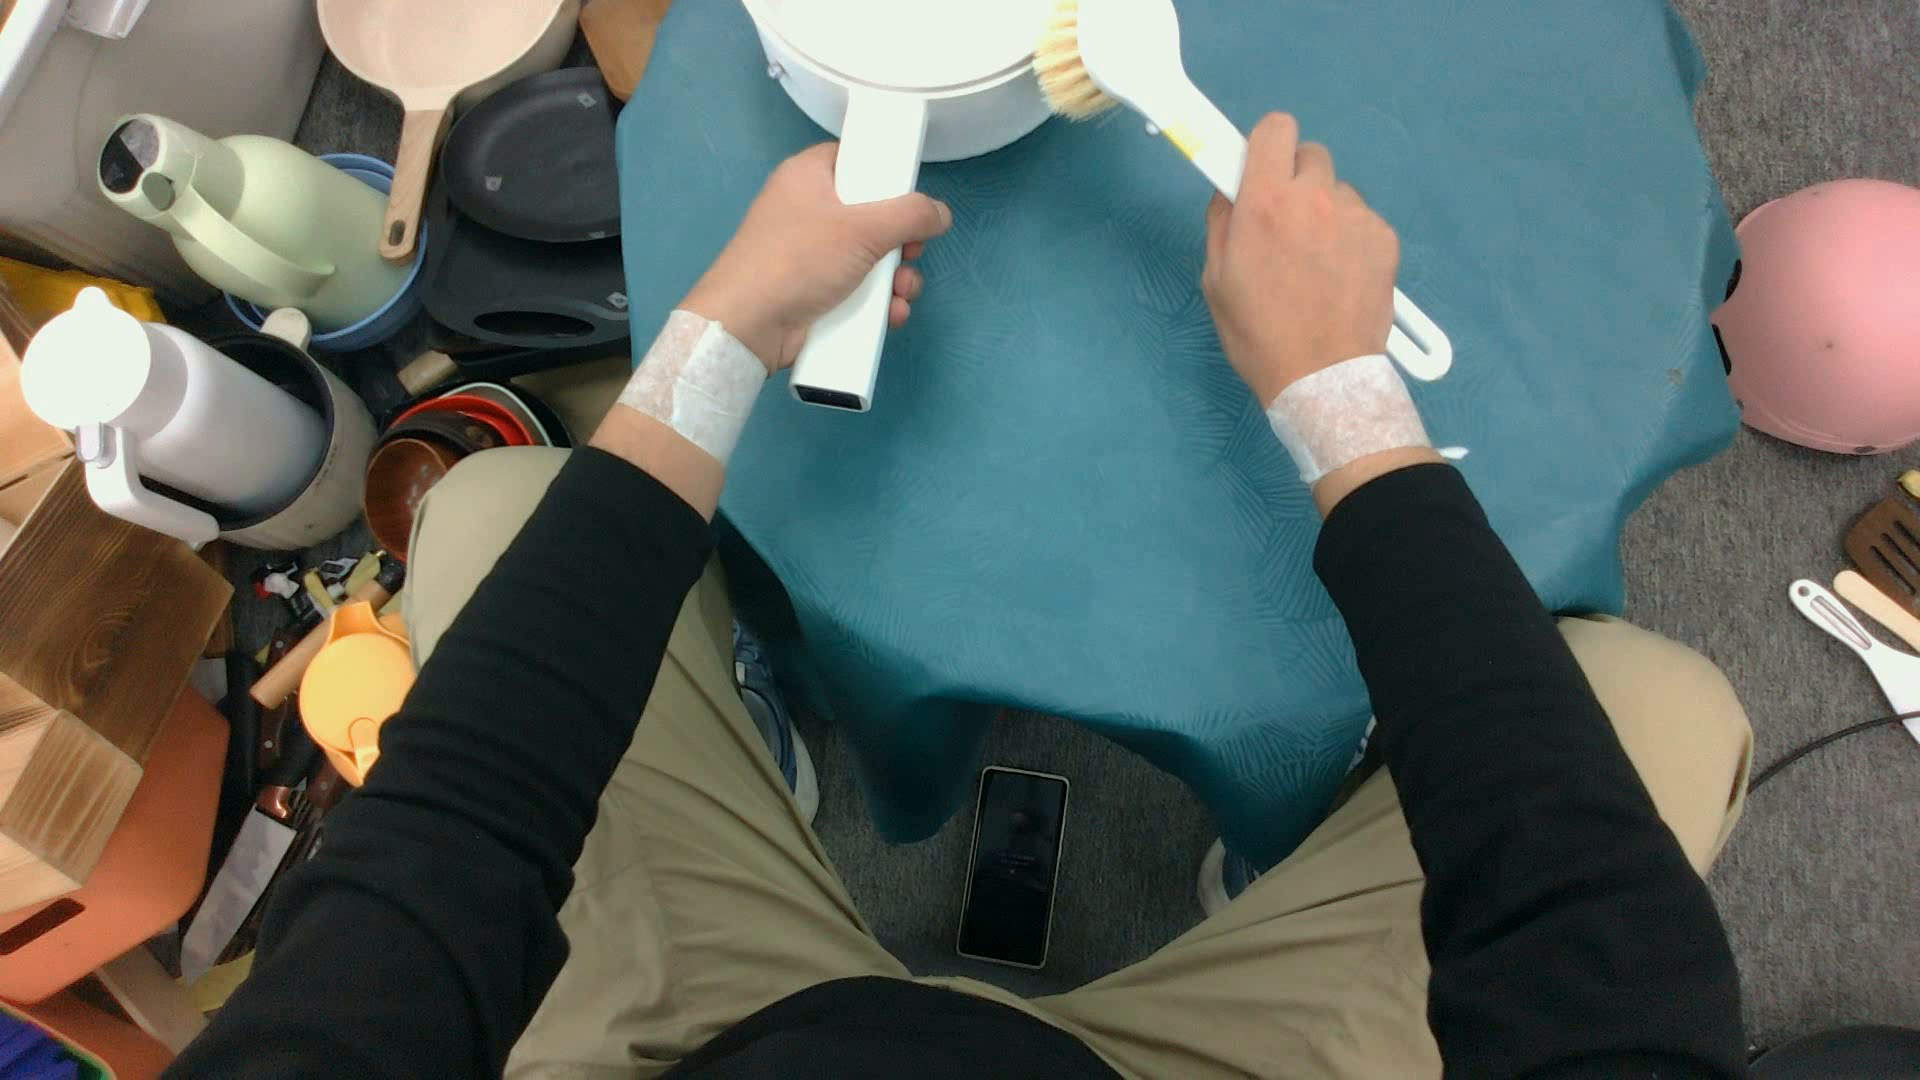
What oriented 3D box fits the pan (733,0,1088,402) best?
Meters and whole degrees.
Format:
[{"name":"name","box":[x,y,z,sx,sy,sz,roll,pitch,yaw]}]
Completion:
[{"name":"pan","box":[-0.040,-0.236,0.727,0.201,0.102,0.355,10,79,2]}]

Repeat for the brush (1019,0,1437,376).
[{"name":"brush","box":[0.133,-0.176,0.683,0.266,0.056,0.069,45,74,-10]}]
